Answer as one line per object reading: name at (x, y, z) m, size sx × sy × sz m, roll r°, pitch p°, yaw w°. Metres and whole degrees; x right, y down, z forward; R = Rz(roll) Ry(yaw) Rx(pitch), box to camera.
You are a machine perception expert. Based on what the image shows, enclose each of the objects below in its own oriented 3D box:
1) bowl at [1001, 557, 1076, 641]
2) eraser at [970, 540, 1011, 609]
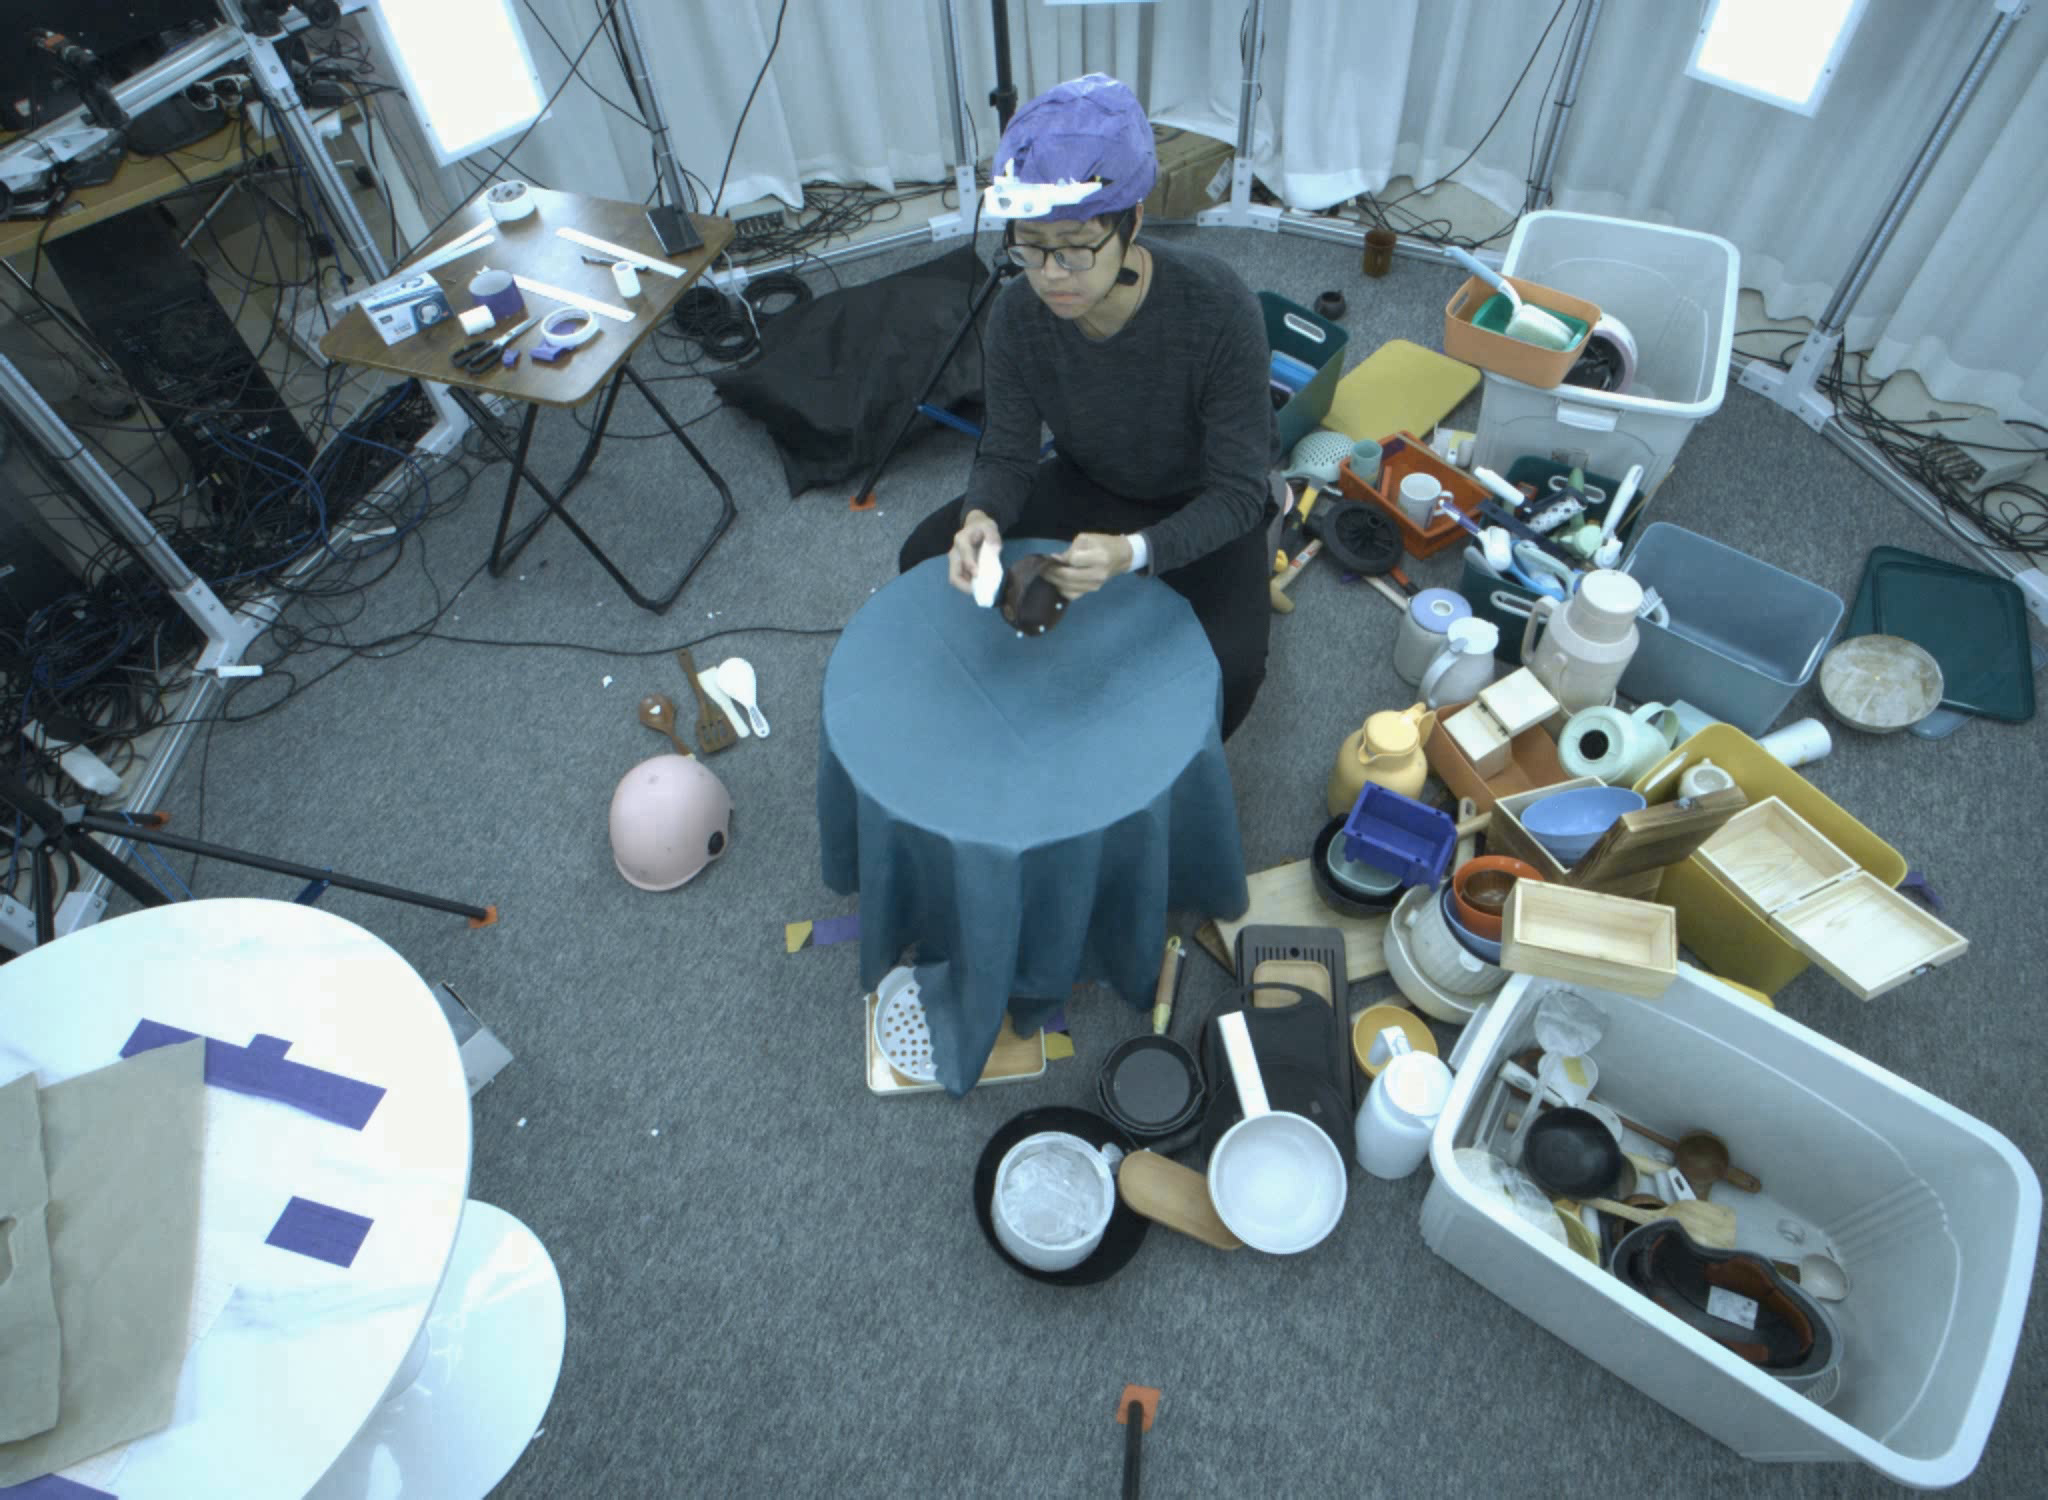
bowl at (0.012, -0.220, 1.750) m, size 0.068 × 0.120 × 0.118 m, roll 24°, pitch 59°, yaw 34°
eraser at (-0.051, -0.250, 1.735) m, size 0.035 × 0.063 × 0.129 m, roll 13°, pitch 29°, yaw -18°
